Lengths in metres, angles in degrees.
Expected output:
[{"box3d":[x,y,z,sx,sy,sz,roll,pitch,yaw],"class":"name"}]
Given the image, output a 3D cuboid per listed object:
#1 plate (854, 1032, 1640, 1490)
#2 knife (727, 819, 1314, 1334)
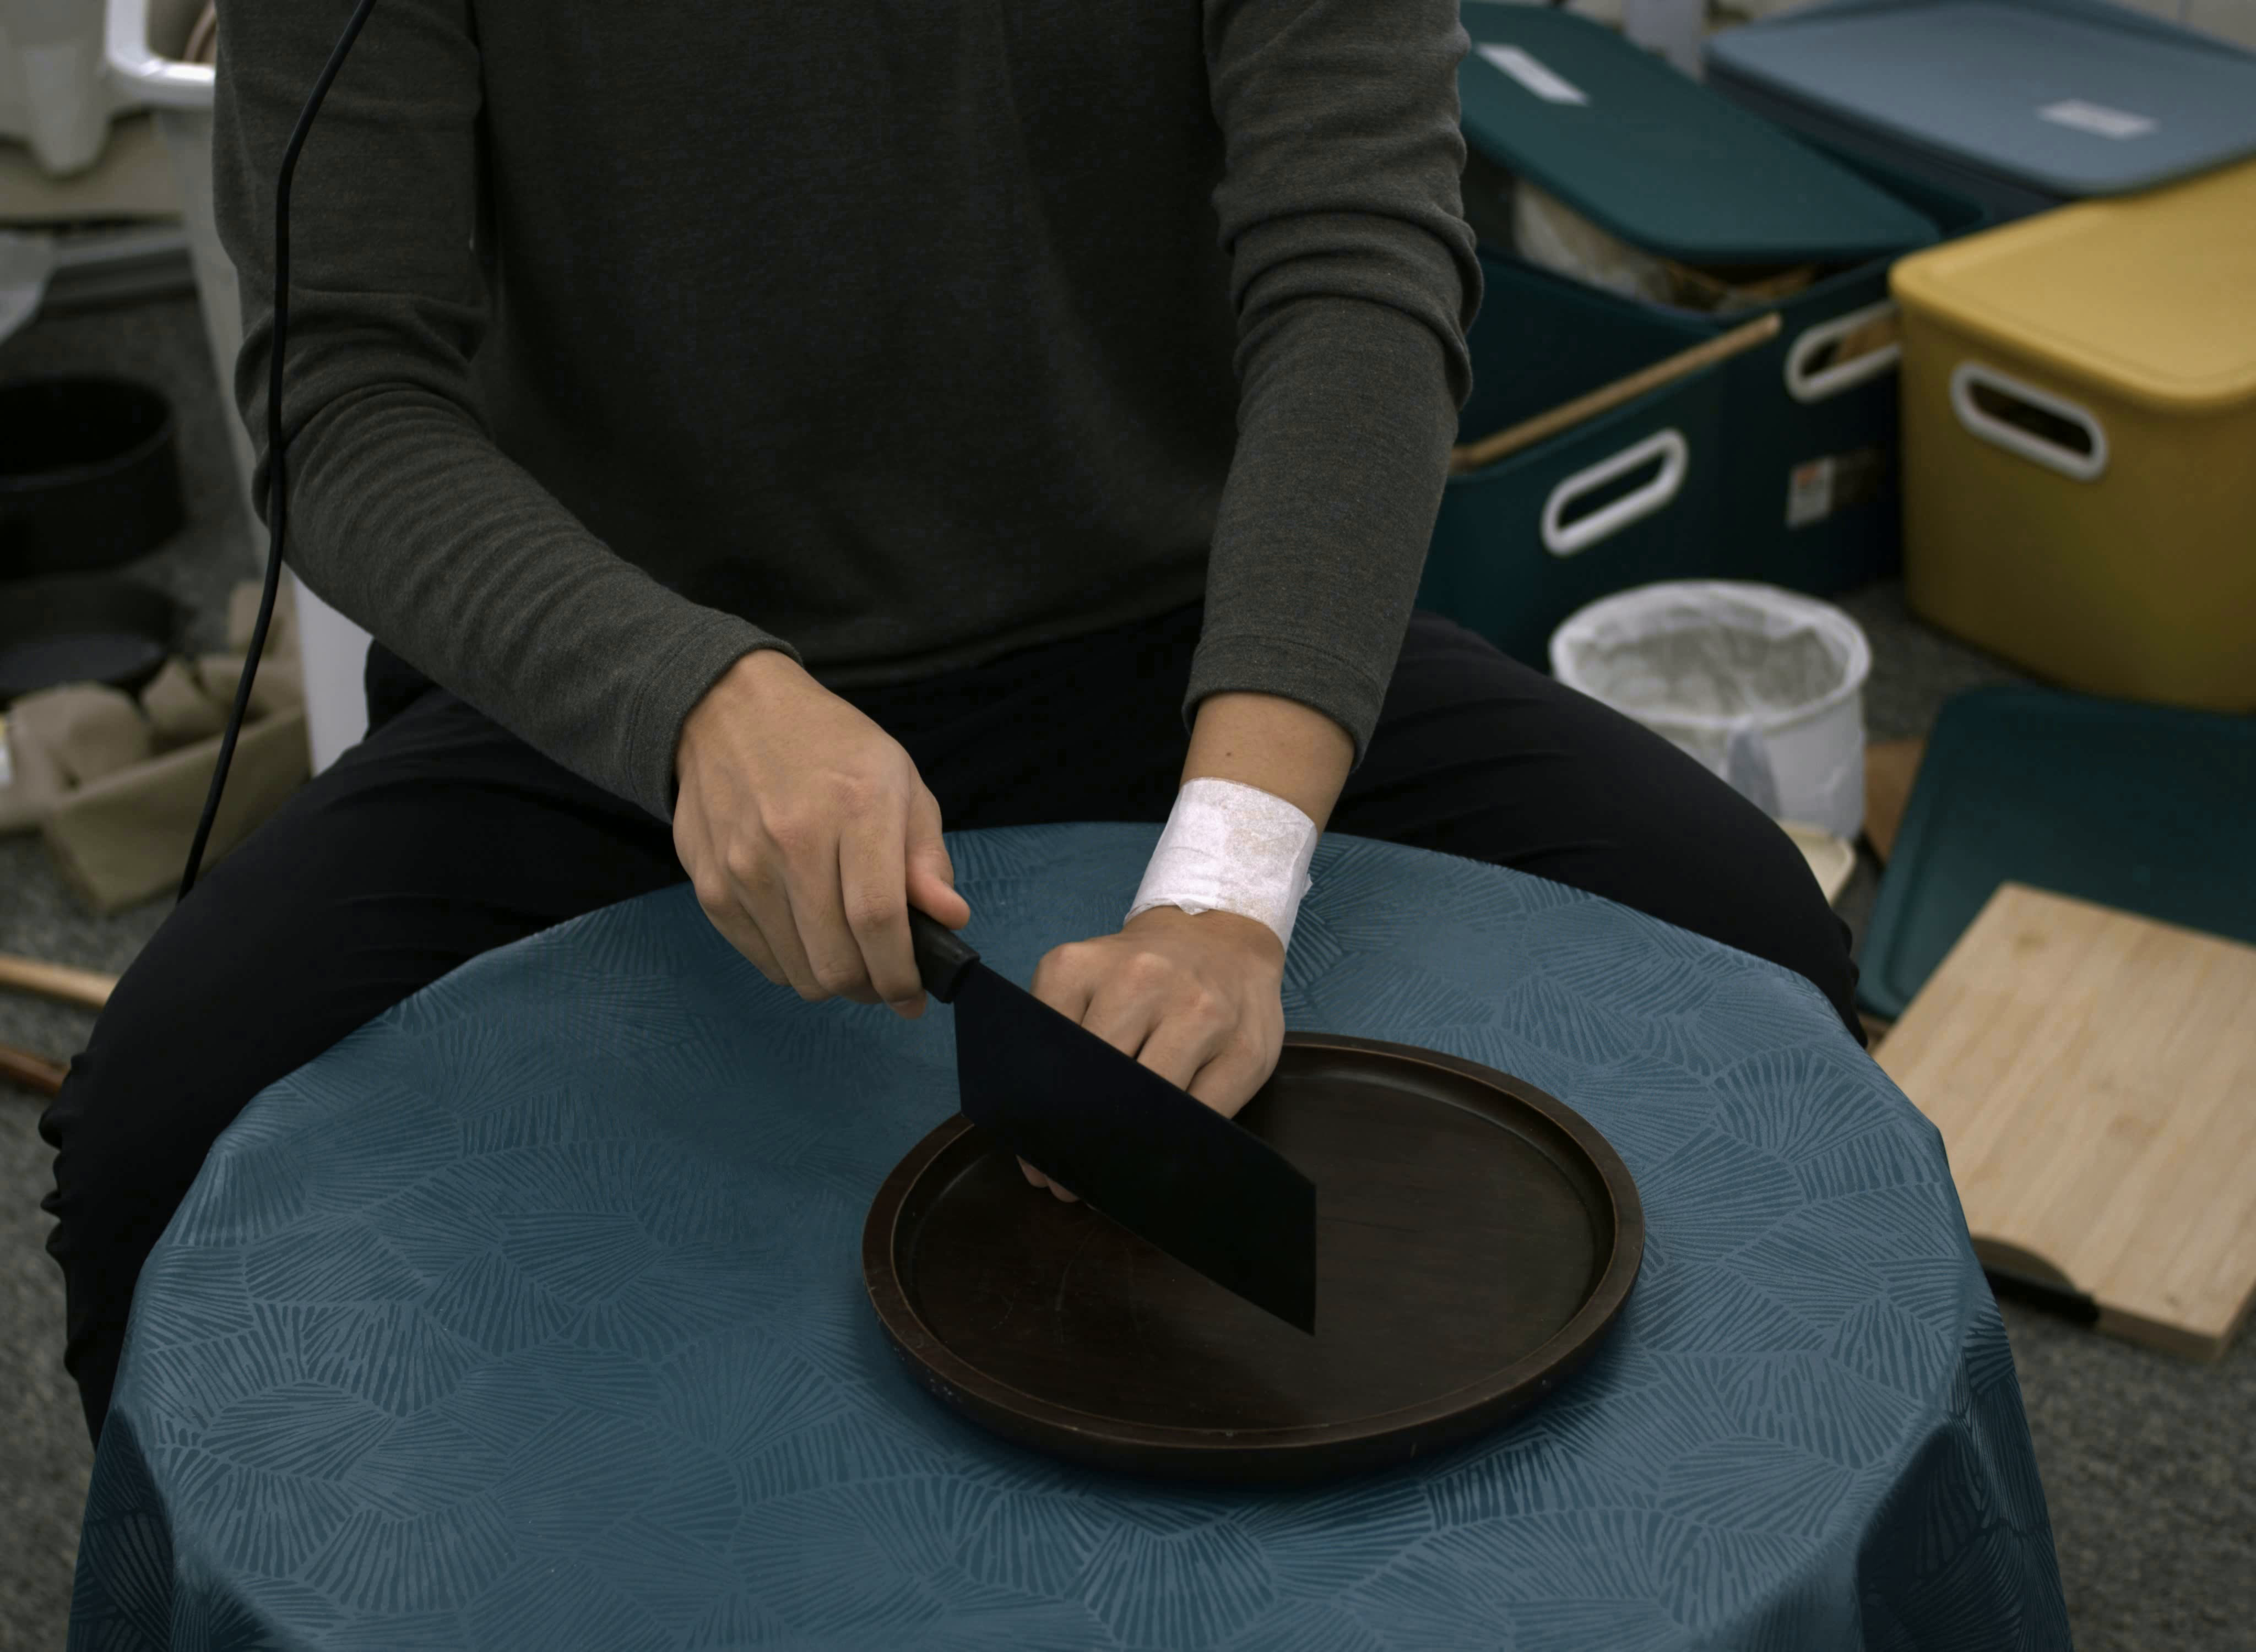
[{"box3d":[0.038,0.137,1.803,0.253,0.029,0.259,-3,28,2],"class":"plate"},{"box3d":[-0.037,0.074,1.811,0.021,0.080,0.303,-20,38,-33],"class":"knife"}]
